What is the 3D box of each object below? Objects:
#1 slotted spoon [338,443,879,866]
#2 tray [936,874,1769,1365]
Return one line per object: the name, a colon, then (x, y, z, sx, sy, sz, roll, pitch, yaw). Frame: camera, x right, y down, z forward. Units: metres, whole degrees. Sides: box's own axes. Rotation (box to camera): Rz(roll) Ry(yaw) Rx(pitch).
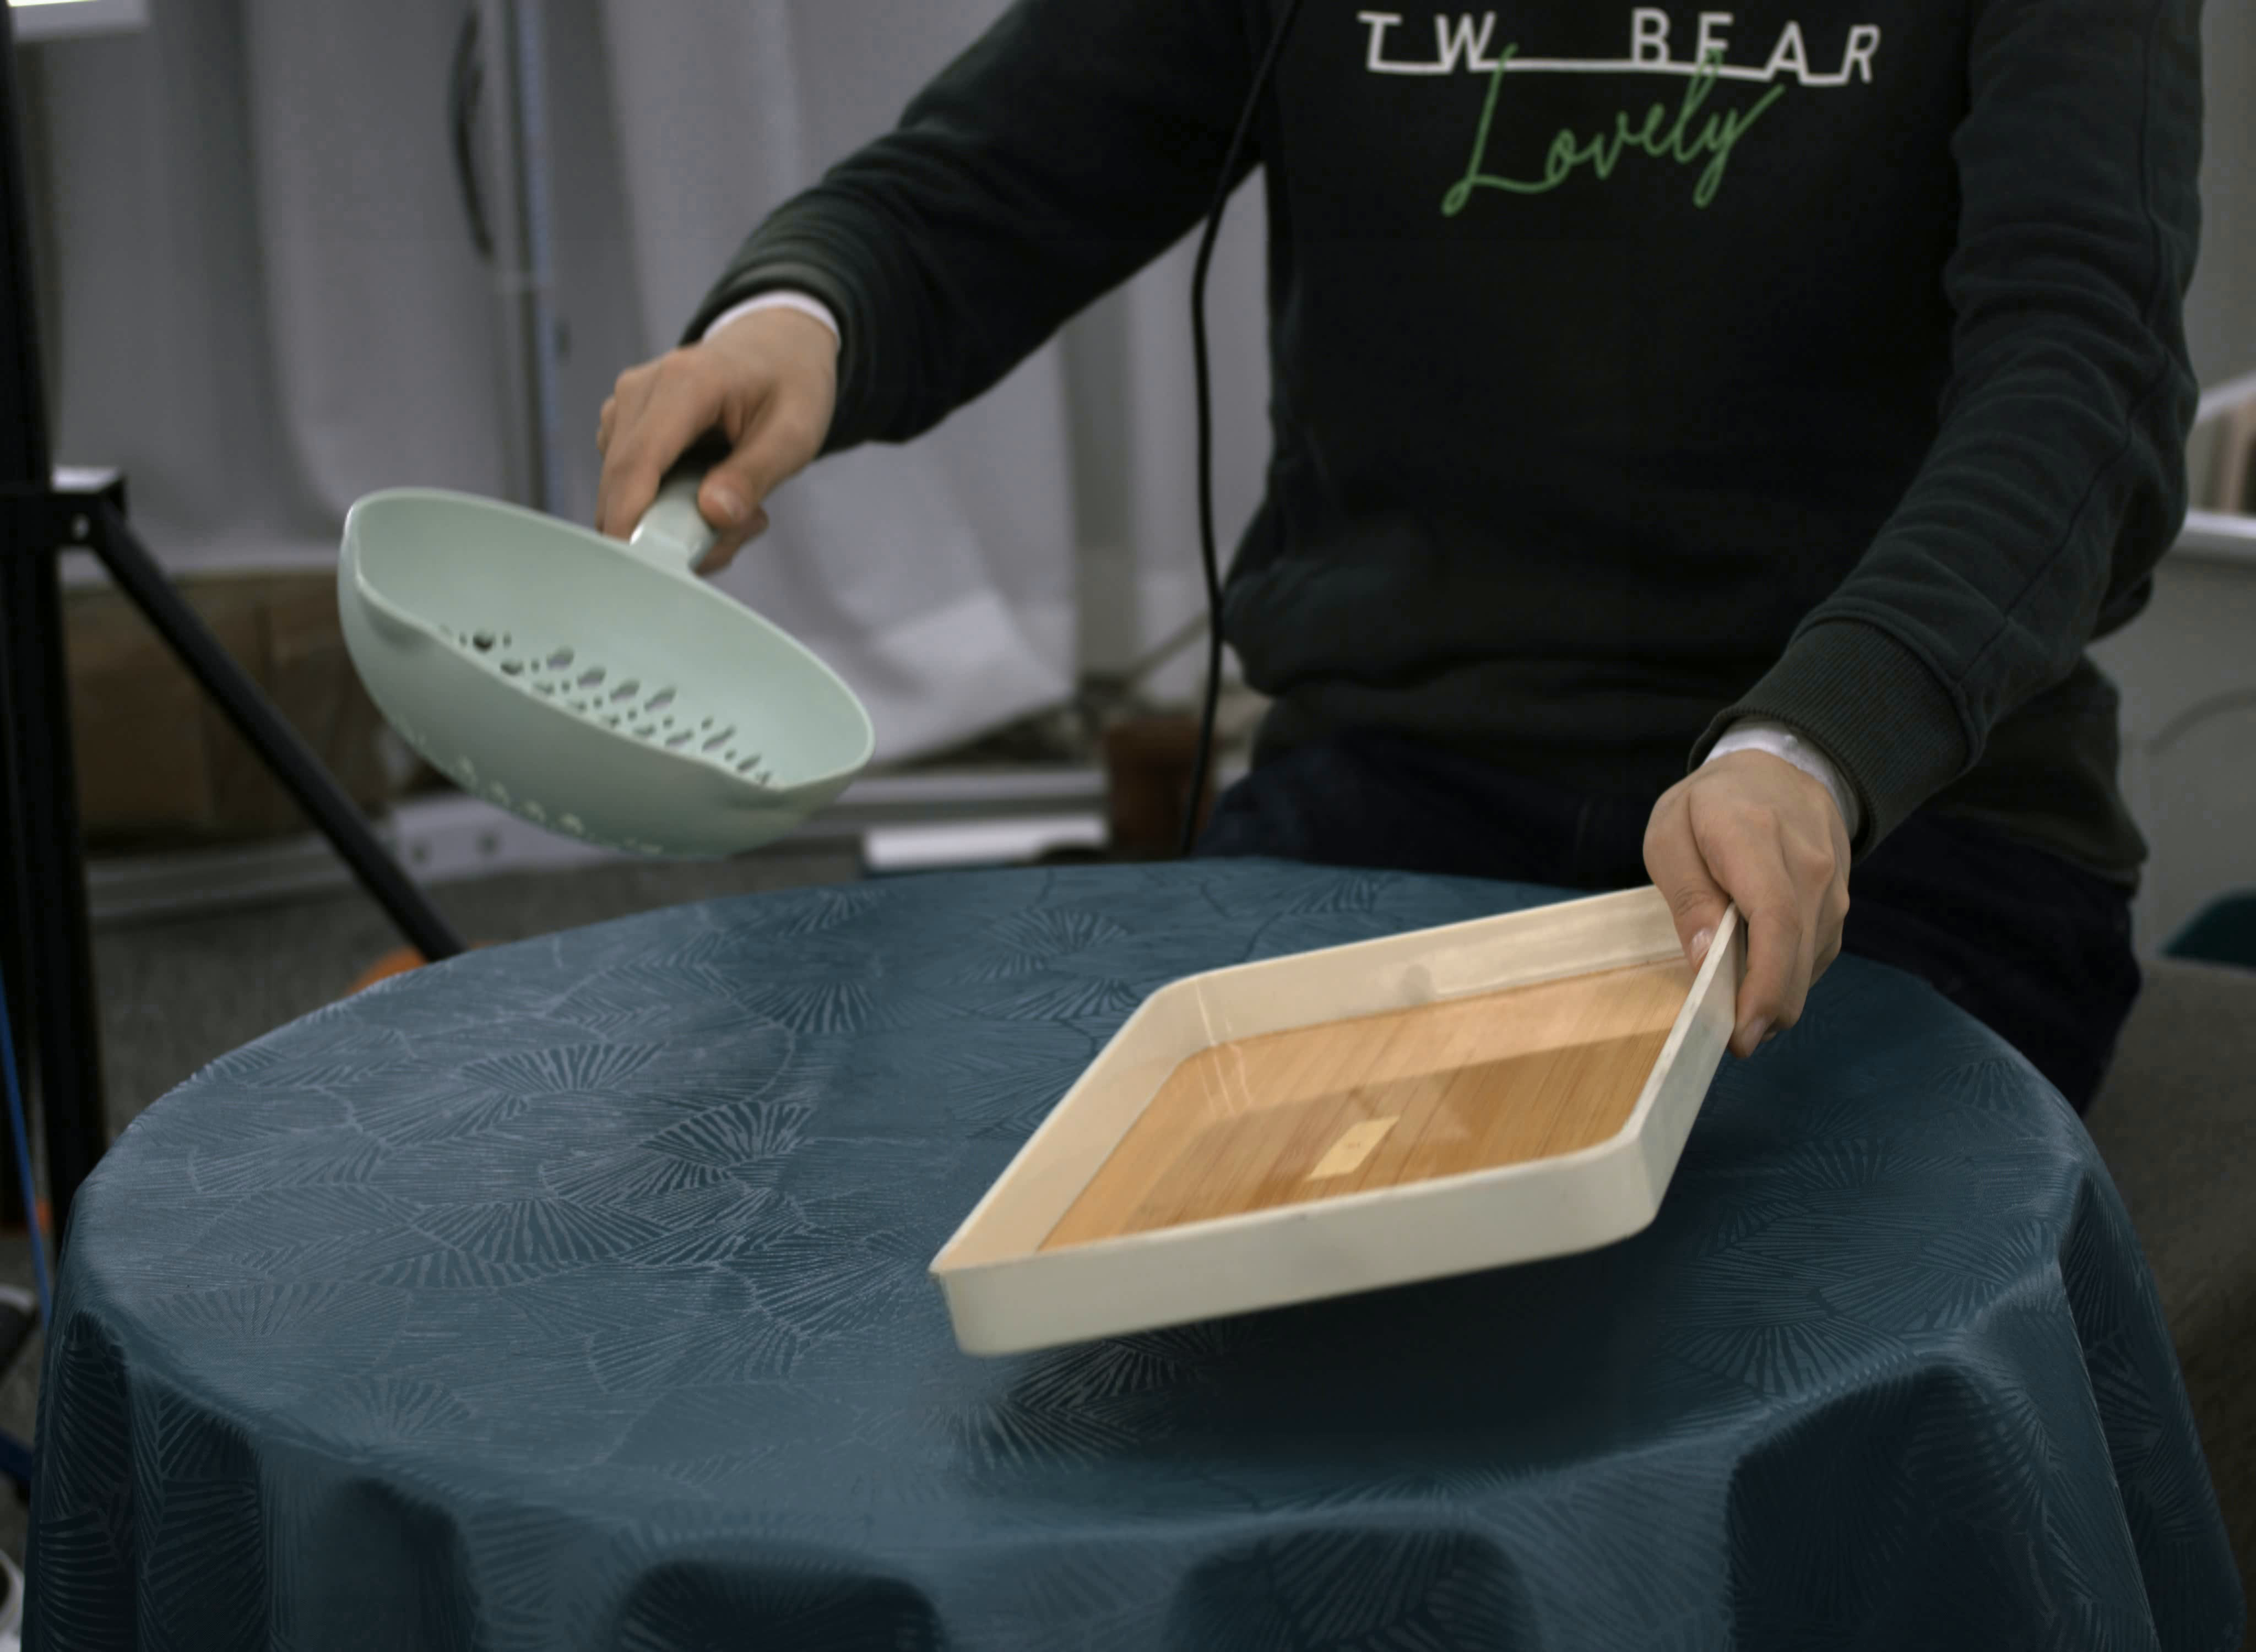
slotted spoon: (-0.148, -0.073, 1.659, 0.168, 0.076, 0.359, 25, 25, -3)
tray: (0.071, 0.078, 1.476, 0.193, 0.027, 0.298, -12, 11, 16)
